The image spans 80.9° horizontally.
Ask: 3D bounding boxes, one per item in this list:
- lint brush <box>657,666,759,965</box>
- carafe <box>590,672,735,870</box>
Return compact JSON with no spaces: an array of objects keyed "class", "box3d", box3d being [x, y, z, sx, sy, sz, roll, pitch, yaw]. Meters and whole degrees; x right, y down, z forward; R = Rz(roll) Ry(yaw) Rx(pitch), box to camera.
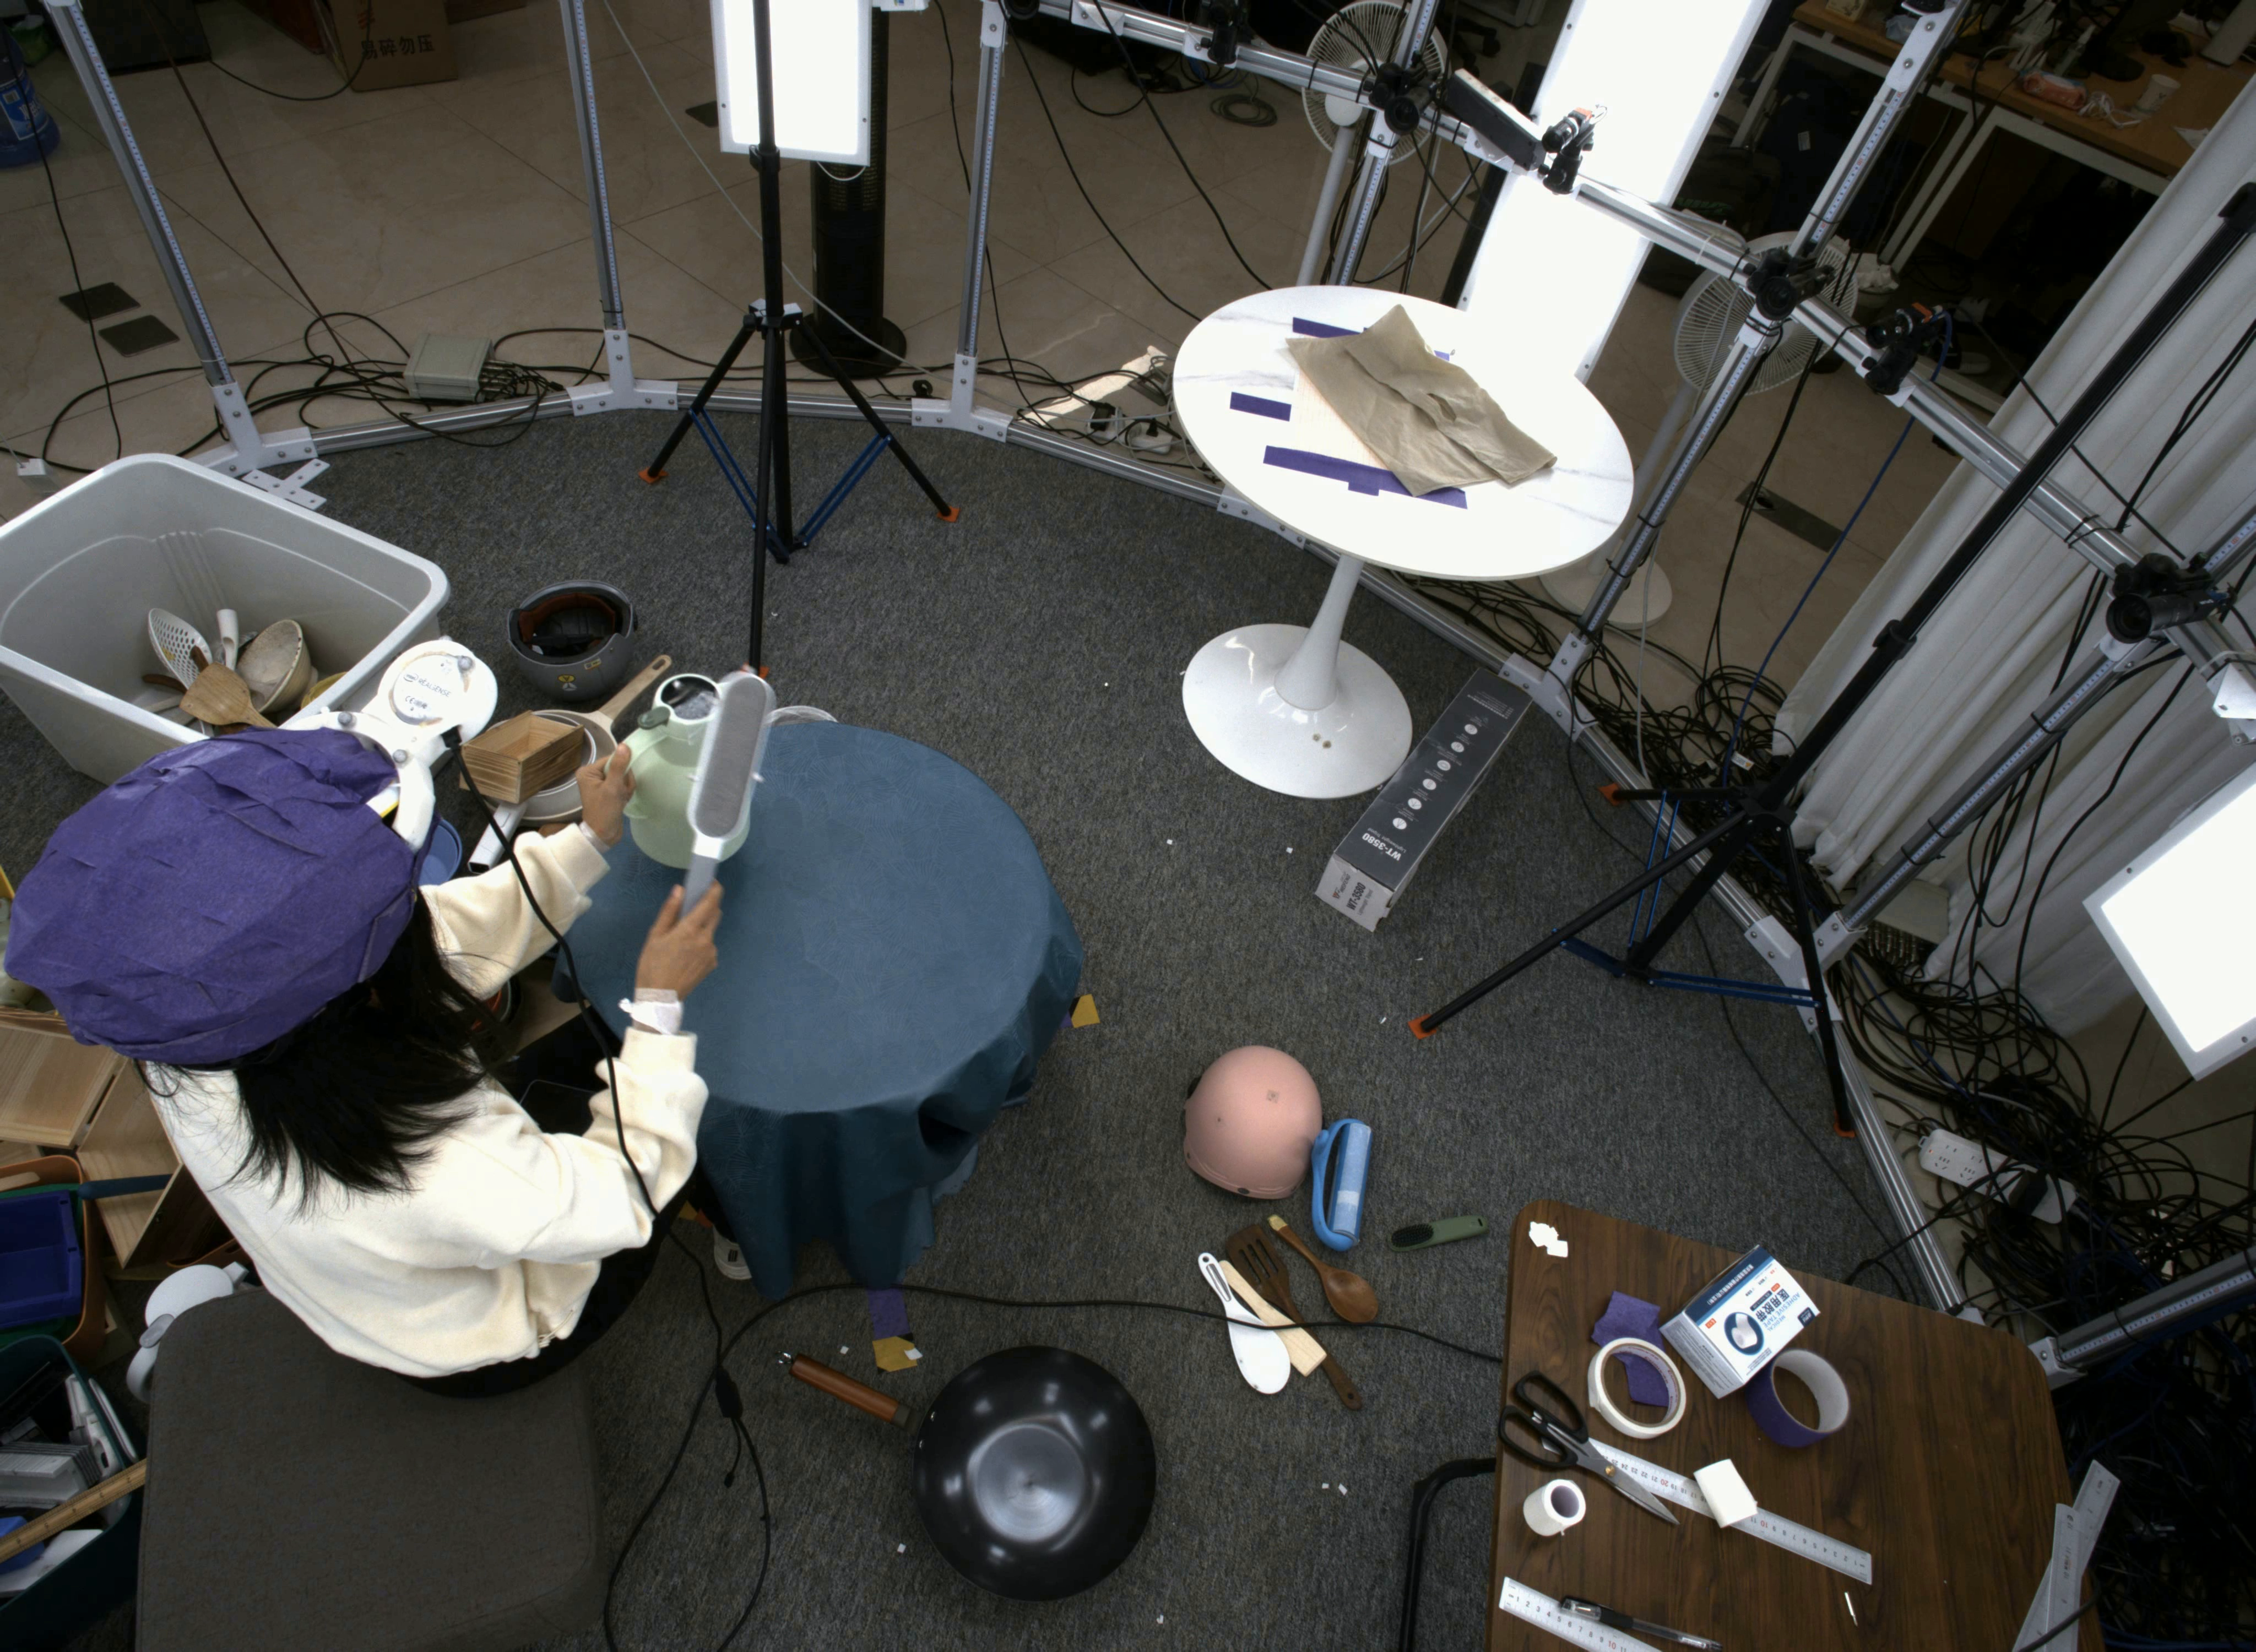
[{"class":"lint brush","box3d":[-0.440,-0.012,1.328,0.061,0.020,0.311,15,86,-31]},{"class":"carafe","box3d":[-0.545,-0.064,1.504,0.142,0.260,0.187,42,57,13]}]
